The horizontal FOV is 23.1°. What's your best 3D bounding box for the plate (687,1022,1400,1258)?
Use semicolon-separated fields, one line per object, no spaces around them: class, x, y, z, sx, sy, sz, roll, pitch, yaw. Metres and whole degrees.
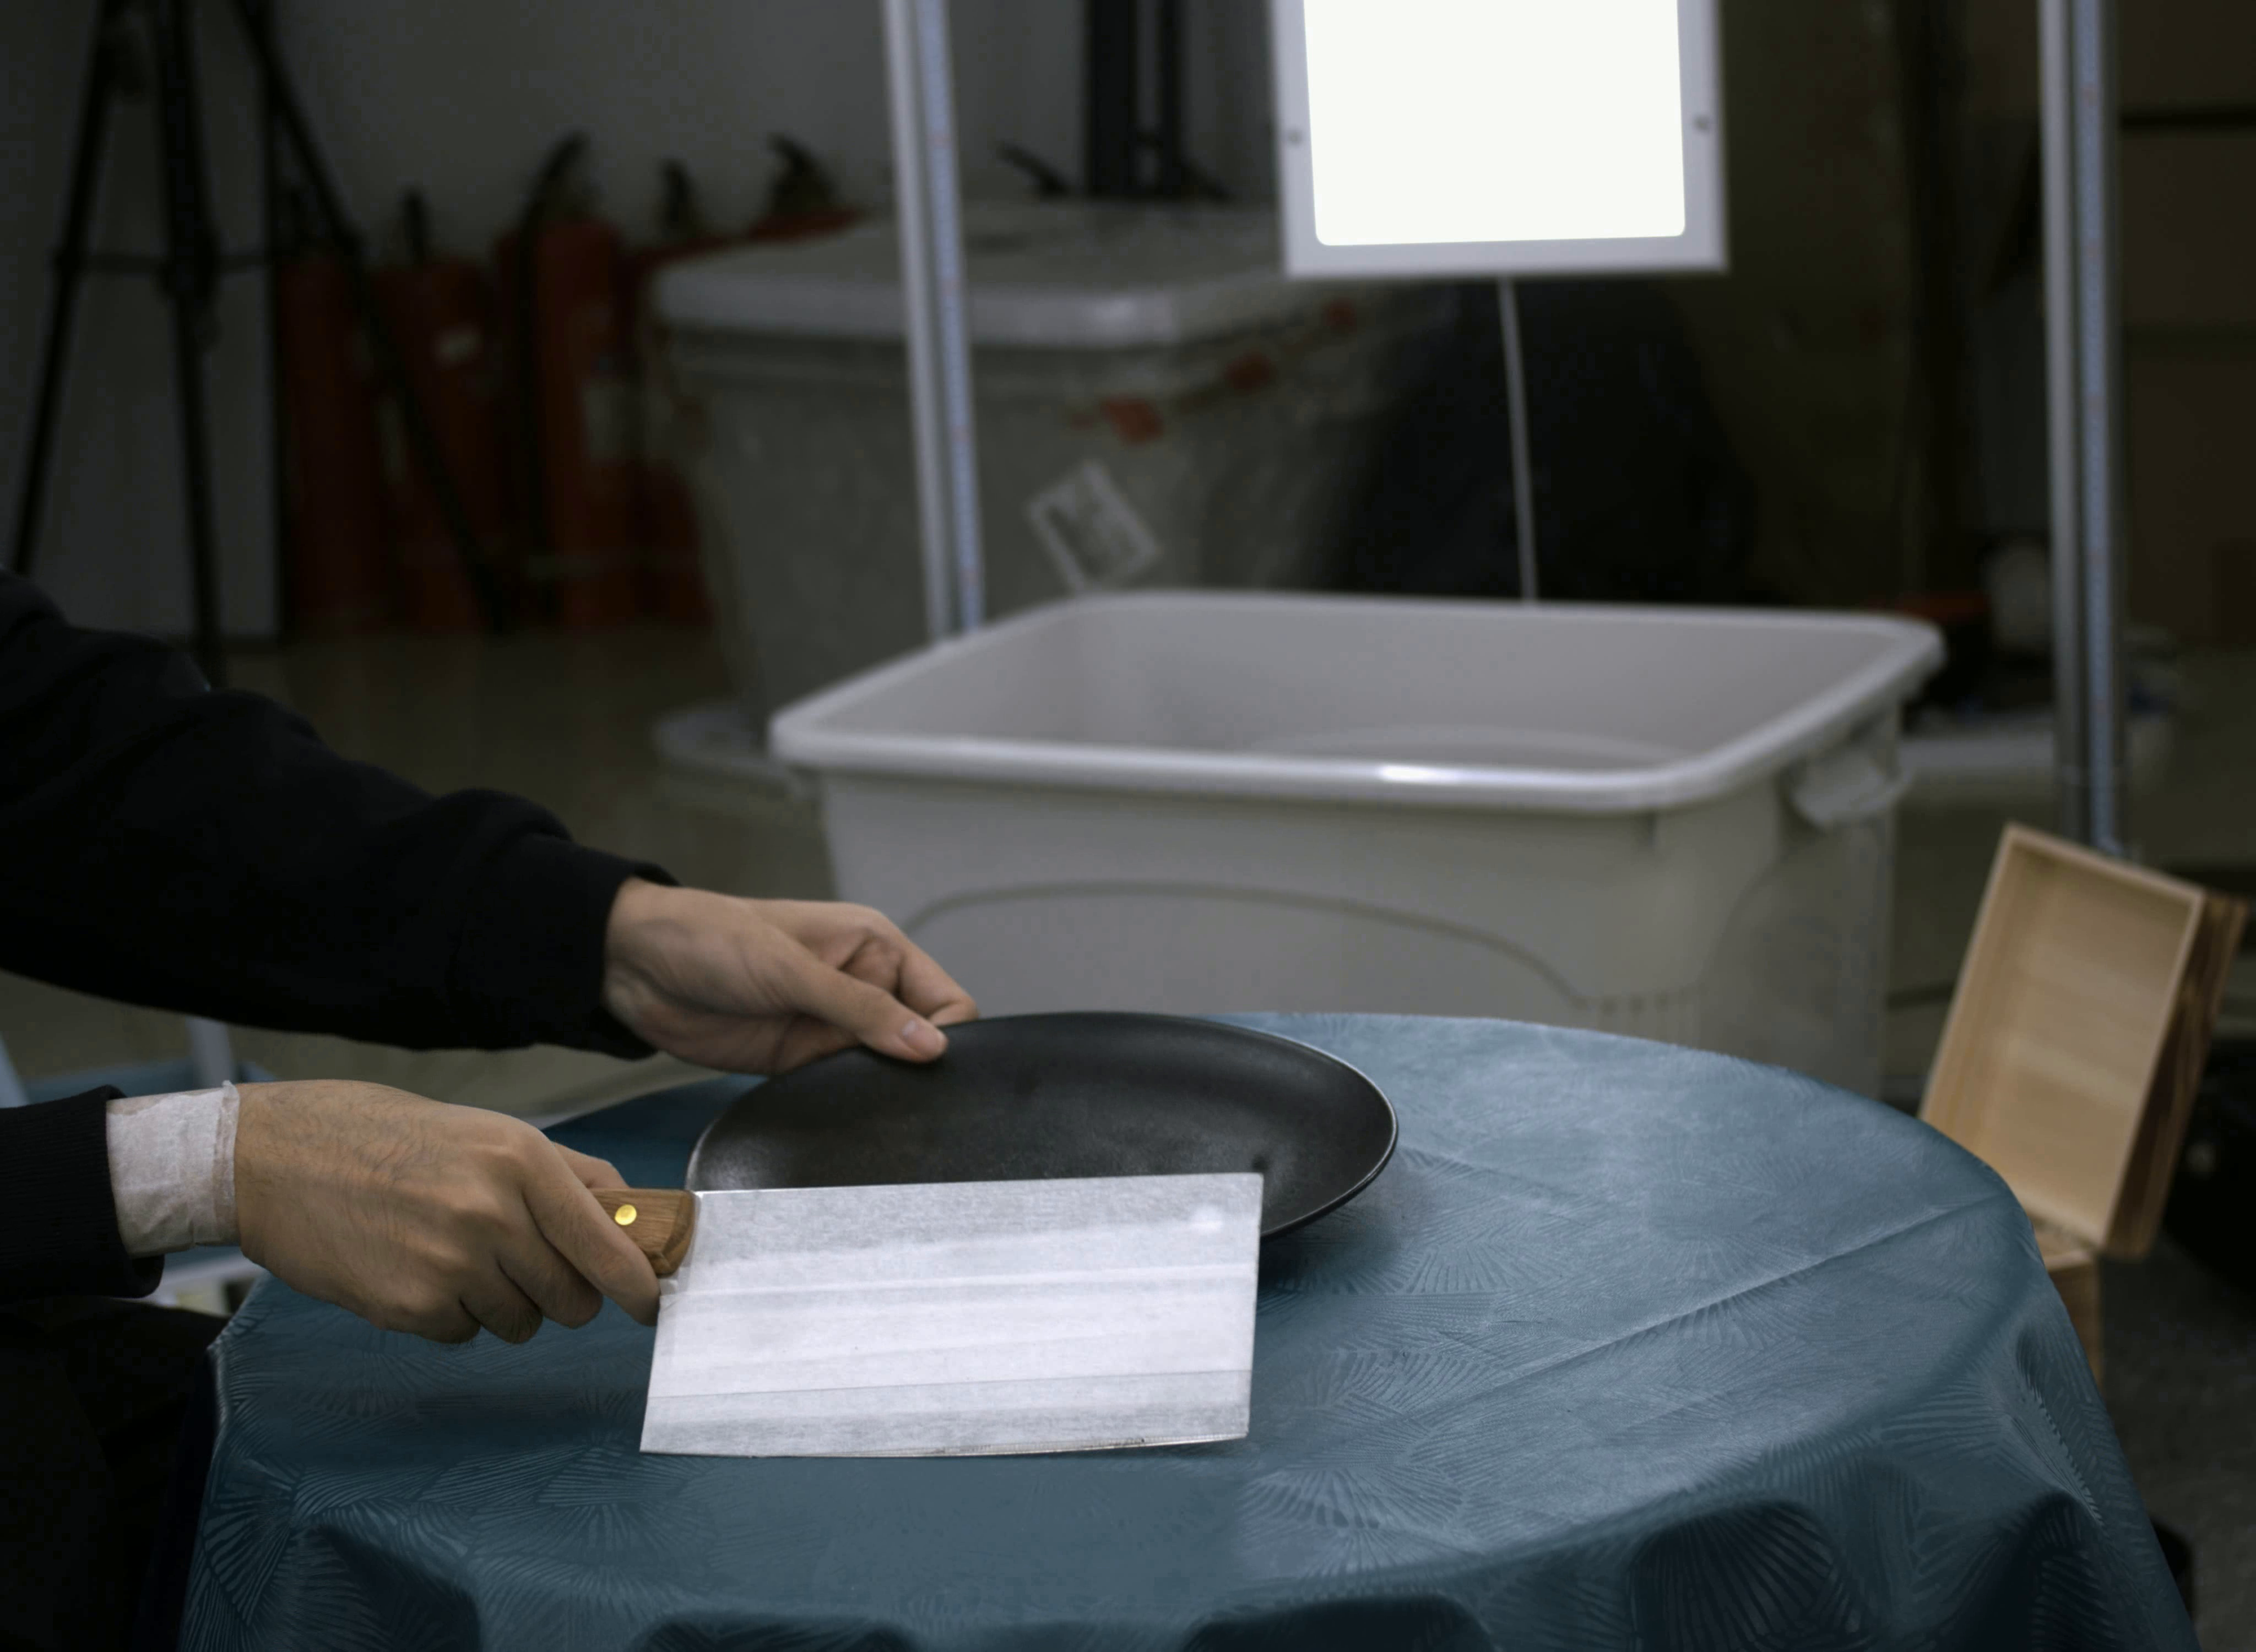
plate;-0.028;0.117;1.874;0.244;0.023;0.244;-5;17;0

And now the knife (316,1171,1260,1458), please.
knife;-0.109;0.151;1.697;0.308;0.021;0.092;-3;59;14
